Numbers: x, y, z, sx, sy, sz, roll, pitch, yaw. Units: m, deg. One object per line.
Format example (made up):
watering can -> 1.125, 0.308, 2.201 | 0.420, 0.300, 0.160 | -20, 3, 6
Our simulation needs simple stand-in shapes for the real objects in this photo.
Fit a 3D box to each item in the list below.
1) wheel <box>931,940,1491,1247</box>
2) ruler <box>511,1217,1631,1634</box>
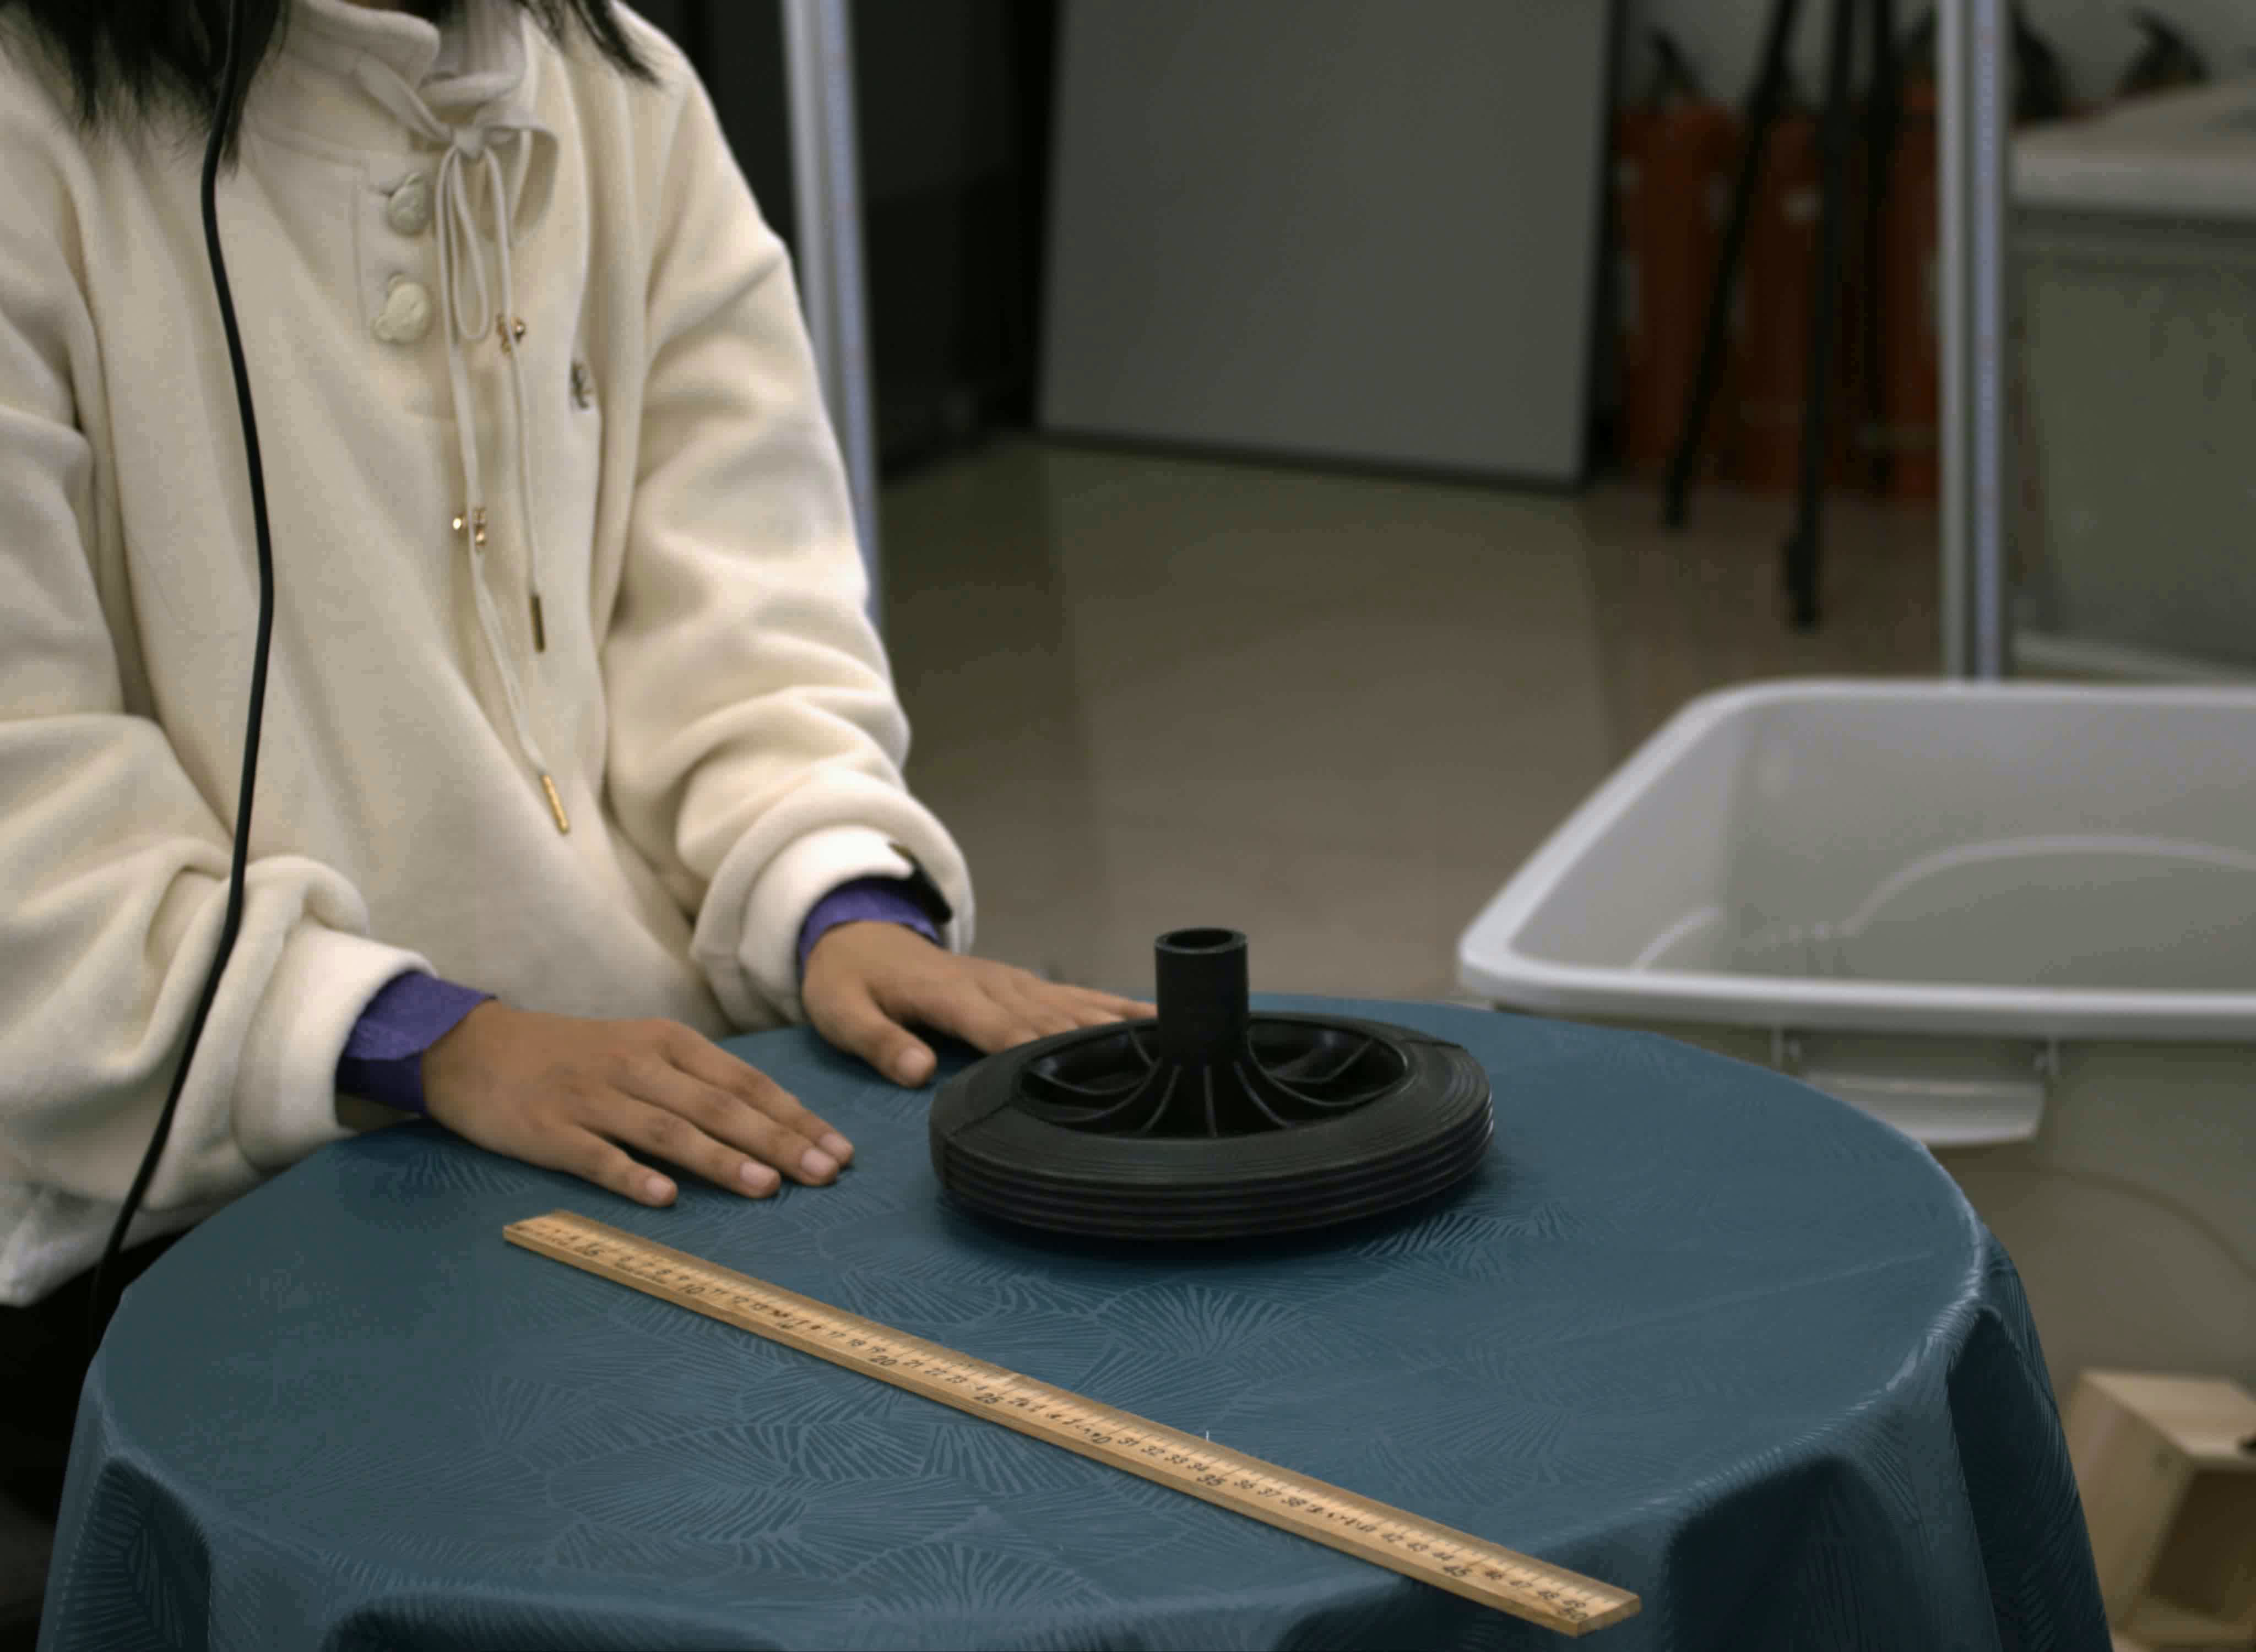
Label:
wheel -> 0.026, 0.080, 1.771 | 0.187, 0.080, 0.188 | 0, 13, 17
ruler -> -0.036, 0.168, 1.579 | 0.026, 0.006, 0.505 | -16, 18, -36
